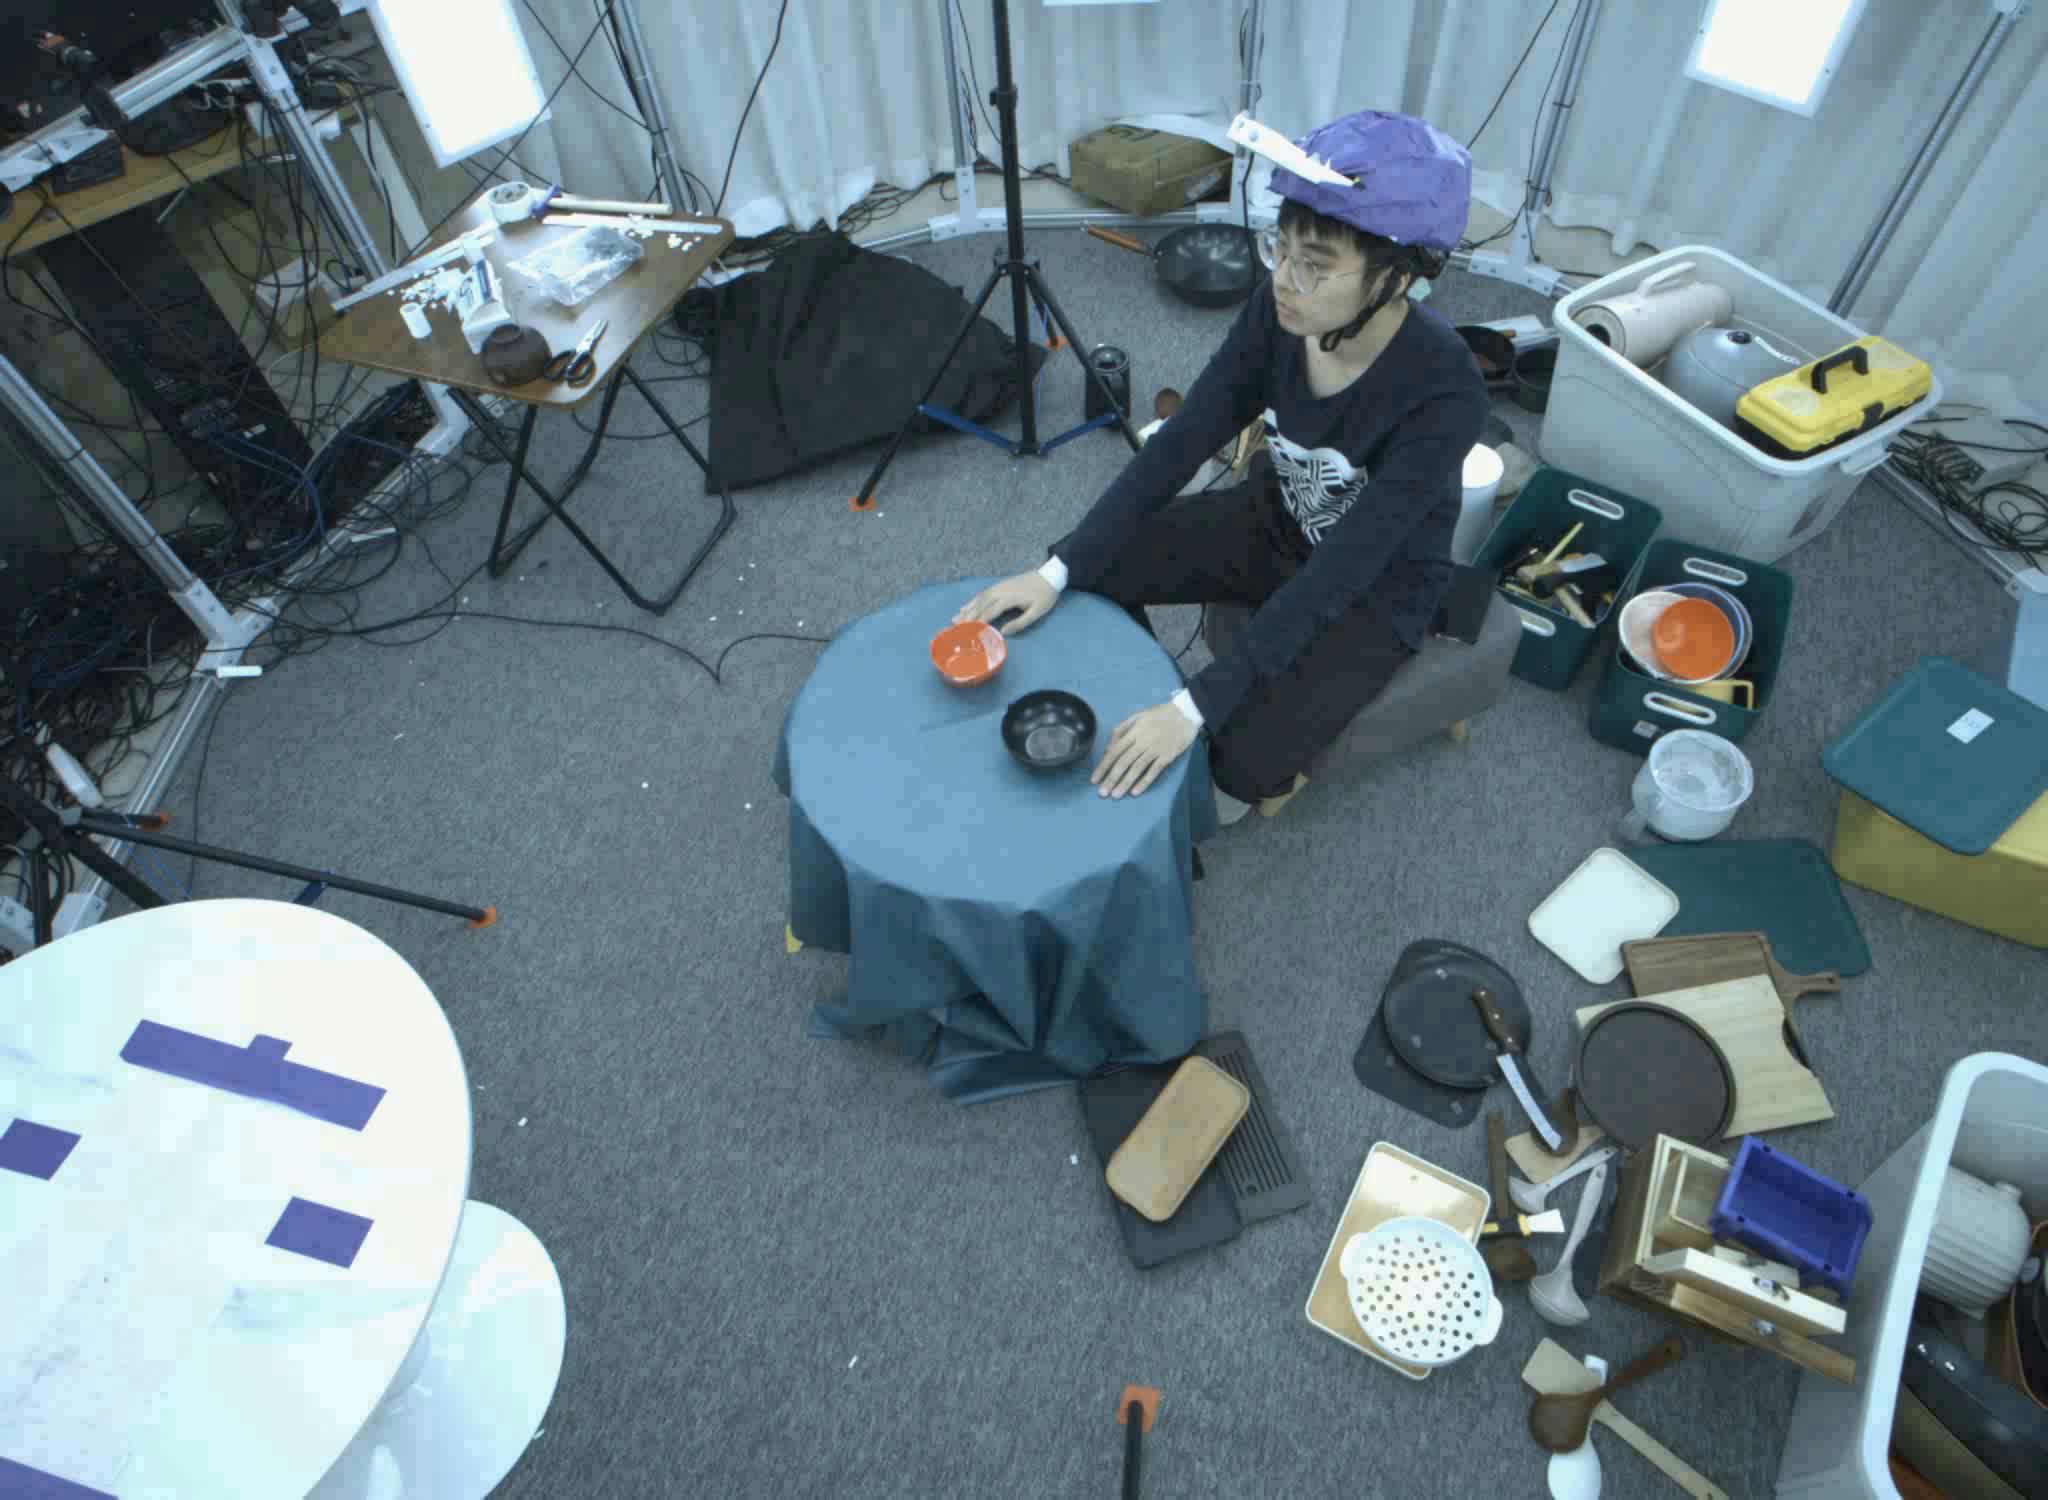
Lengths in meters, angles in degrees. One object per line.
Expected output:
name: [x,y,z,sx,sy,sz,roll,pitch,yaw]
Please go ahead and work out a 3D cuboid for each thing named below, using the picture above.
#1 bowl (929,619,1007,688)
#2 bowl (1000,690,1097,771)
bowl: [-0.083,-0.139,1.864,0.119,0.052,0.117,-1,54,3]
bowl: [0.035,-0.020,1.782,0.140,0.050,0.138,2,52,-1]
